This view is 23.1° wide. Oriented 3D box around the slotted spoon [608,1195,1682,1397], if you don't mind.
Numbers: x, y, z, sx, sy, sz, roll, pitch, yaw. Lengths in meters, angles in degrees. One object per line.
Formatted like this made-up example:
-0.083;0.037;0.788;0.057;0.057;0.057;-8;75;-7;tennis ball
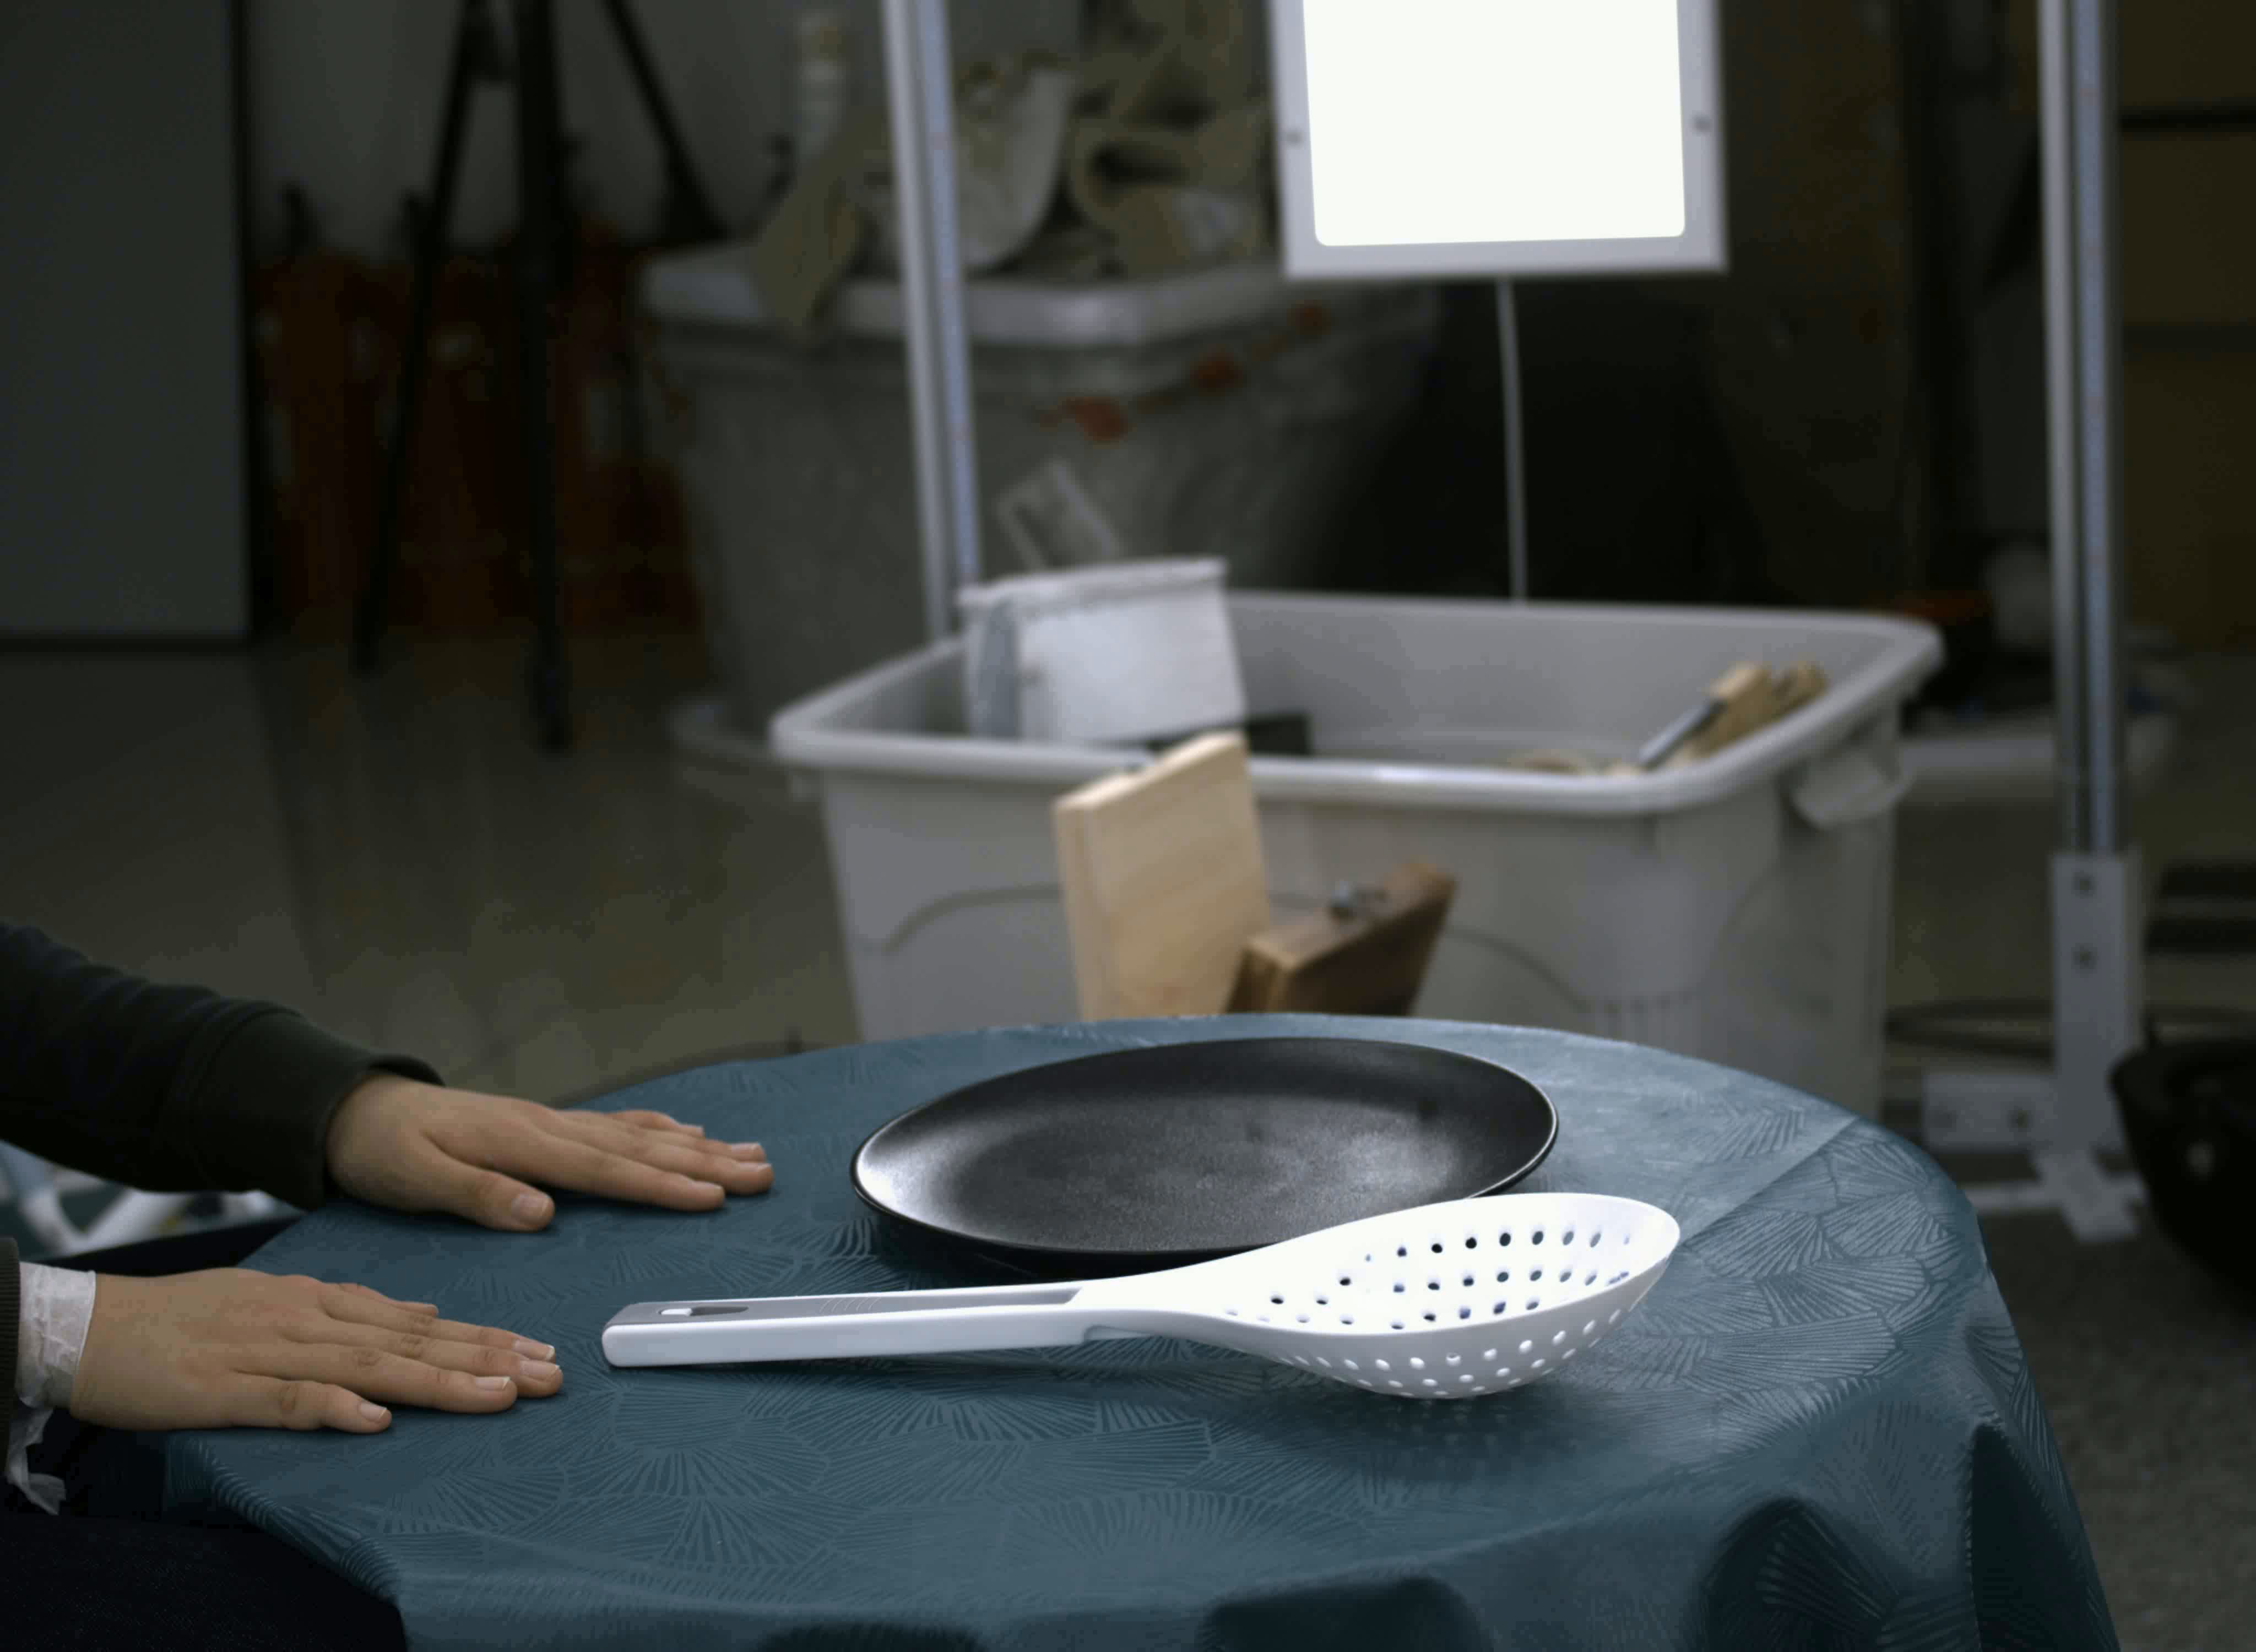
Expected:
0.001;0.149;1.710;0.354;0.046;0.134;-1;12;20;slotted spoon

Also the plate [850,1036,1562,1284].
0.028;0.117;1.880;0.244;0.023;0.244;-5;14;0;plate
